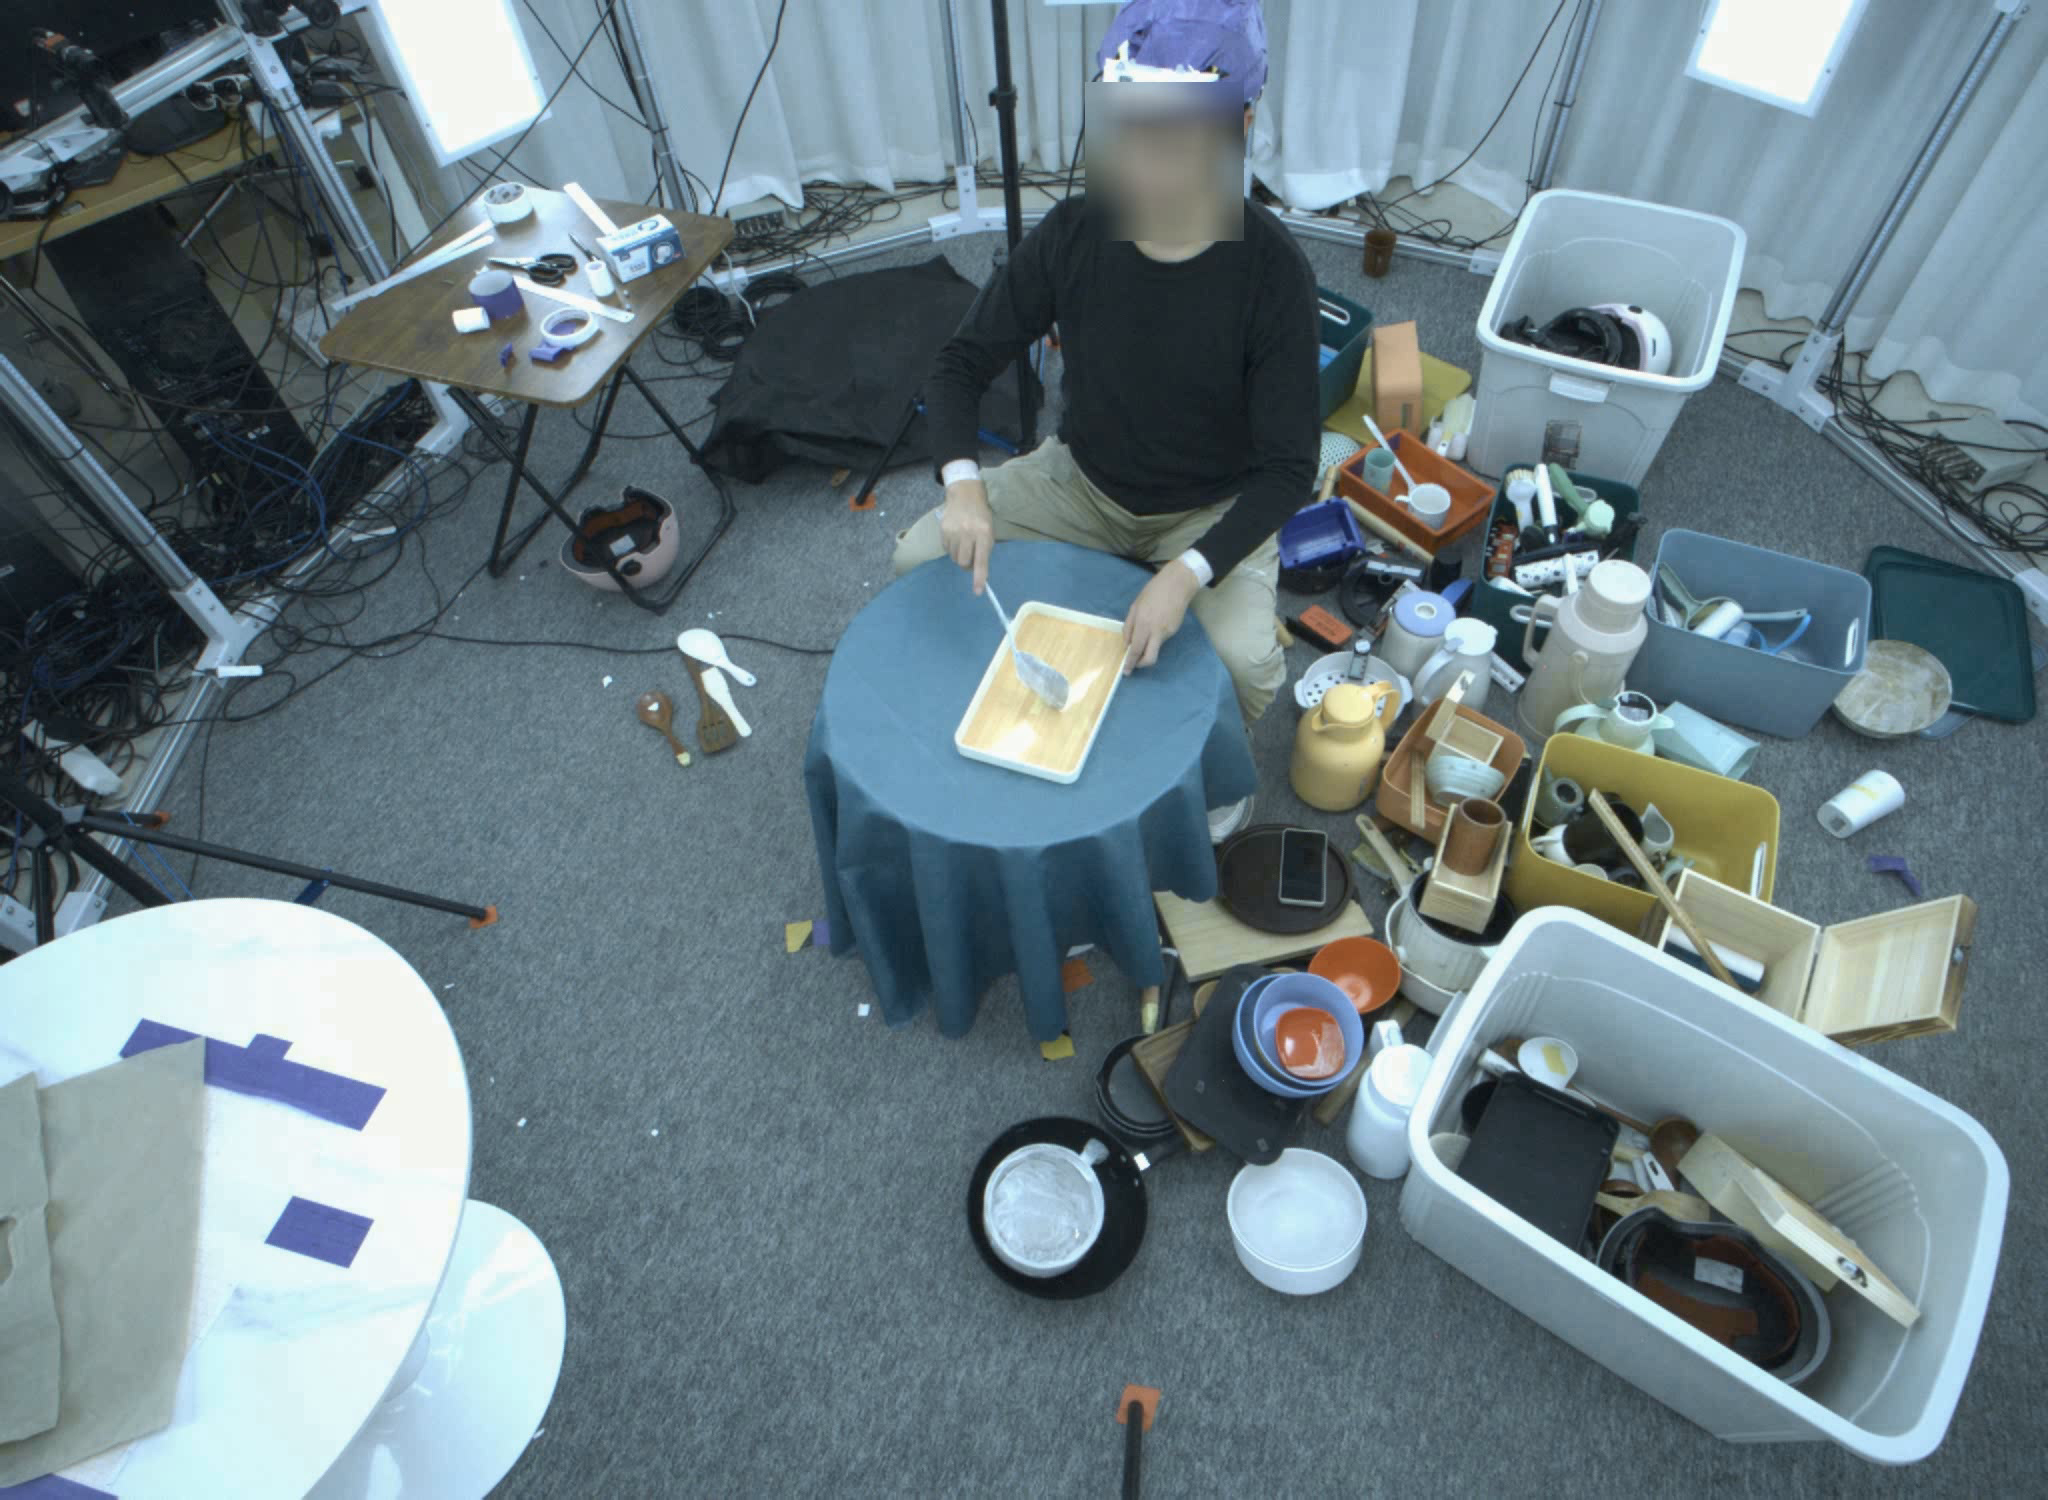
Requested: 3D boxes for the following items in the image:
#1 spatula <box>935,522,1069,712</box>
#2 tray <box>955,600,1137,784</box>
[{"bbox_3d":[-0.037,-0.211,1.821,0.045,0.099,0.361,-23,72,-16],"label":"spatula"},{"bbox_3d":[0.037,-0.093,1.835,0.189,0.028,0.300,16,57,13],"label":"tray"}]
